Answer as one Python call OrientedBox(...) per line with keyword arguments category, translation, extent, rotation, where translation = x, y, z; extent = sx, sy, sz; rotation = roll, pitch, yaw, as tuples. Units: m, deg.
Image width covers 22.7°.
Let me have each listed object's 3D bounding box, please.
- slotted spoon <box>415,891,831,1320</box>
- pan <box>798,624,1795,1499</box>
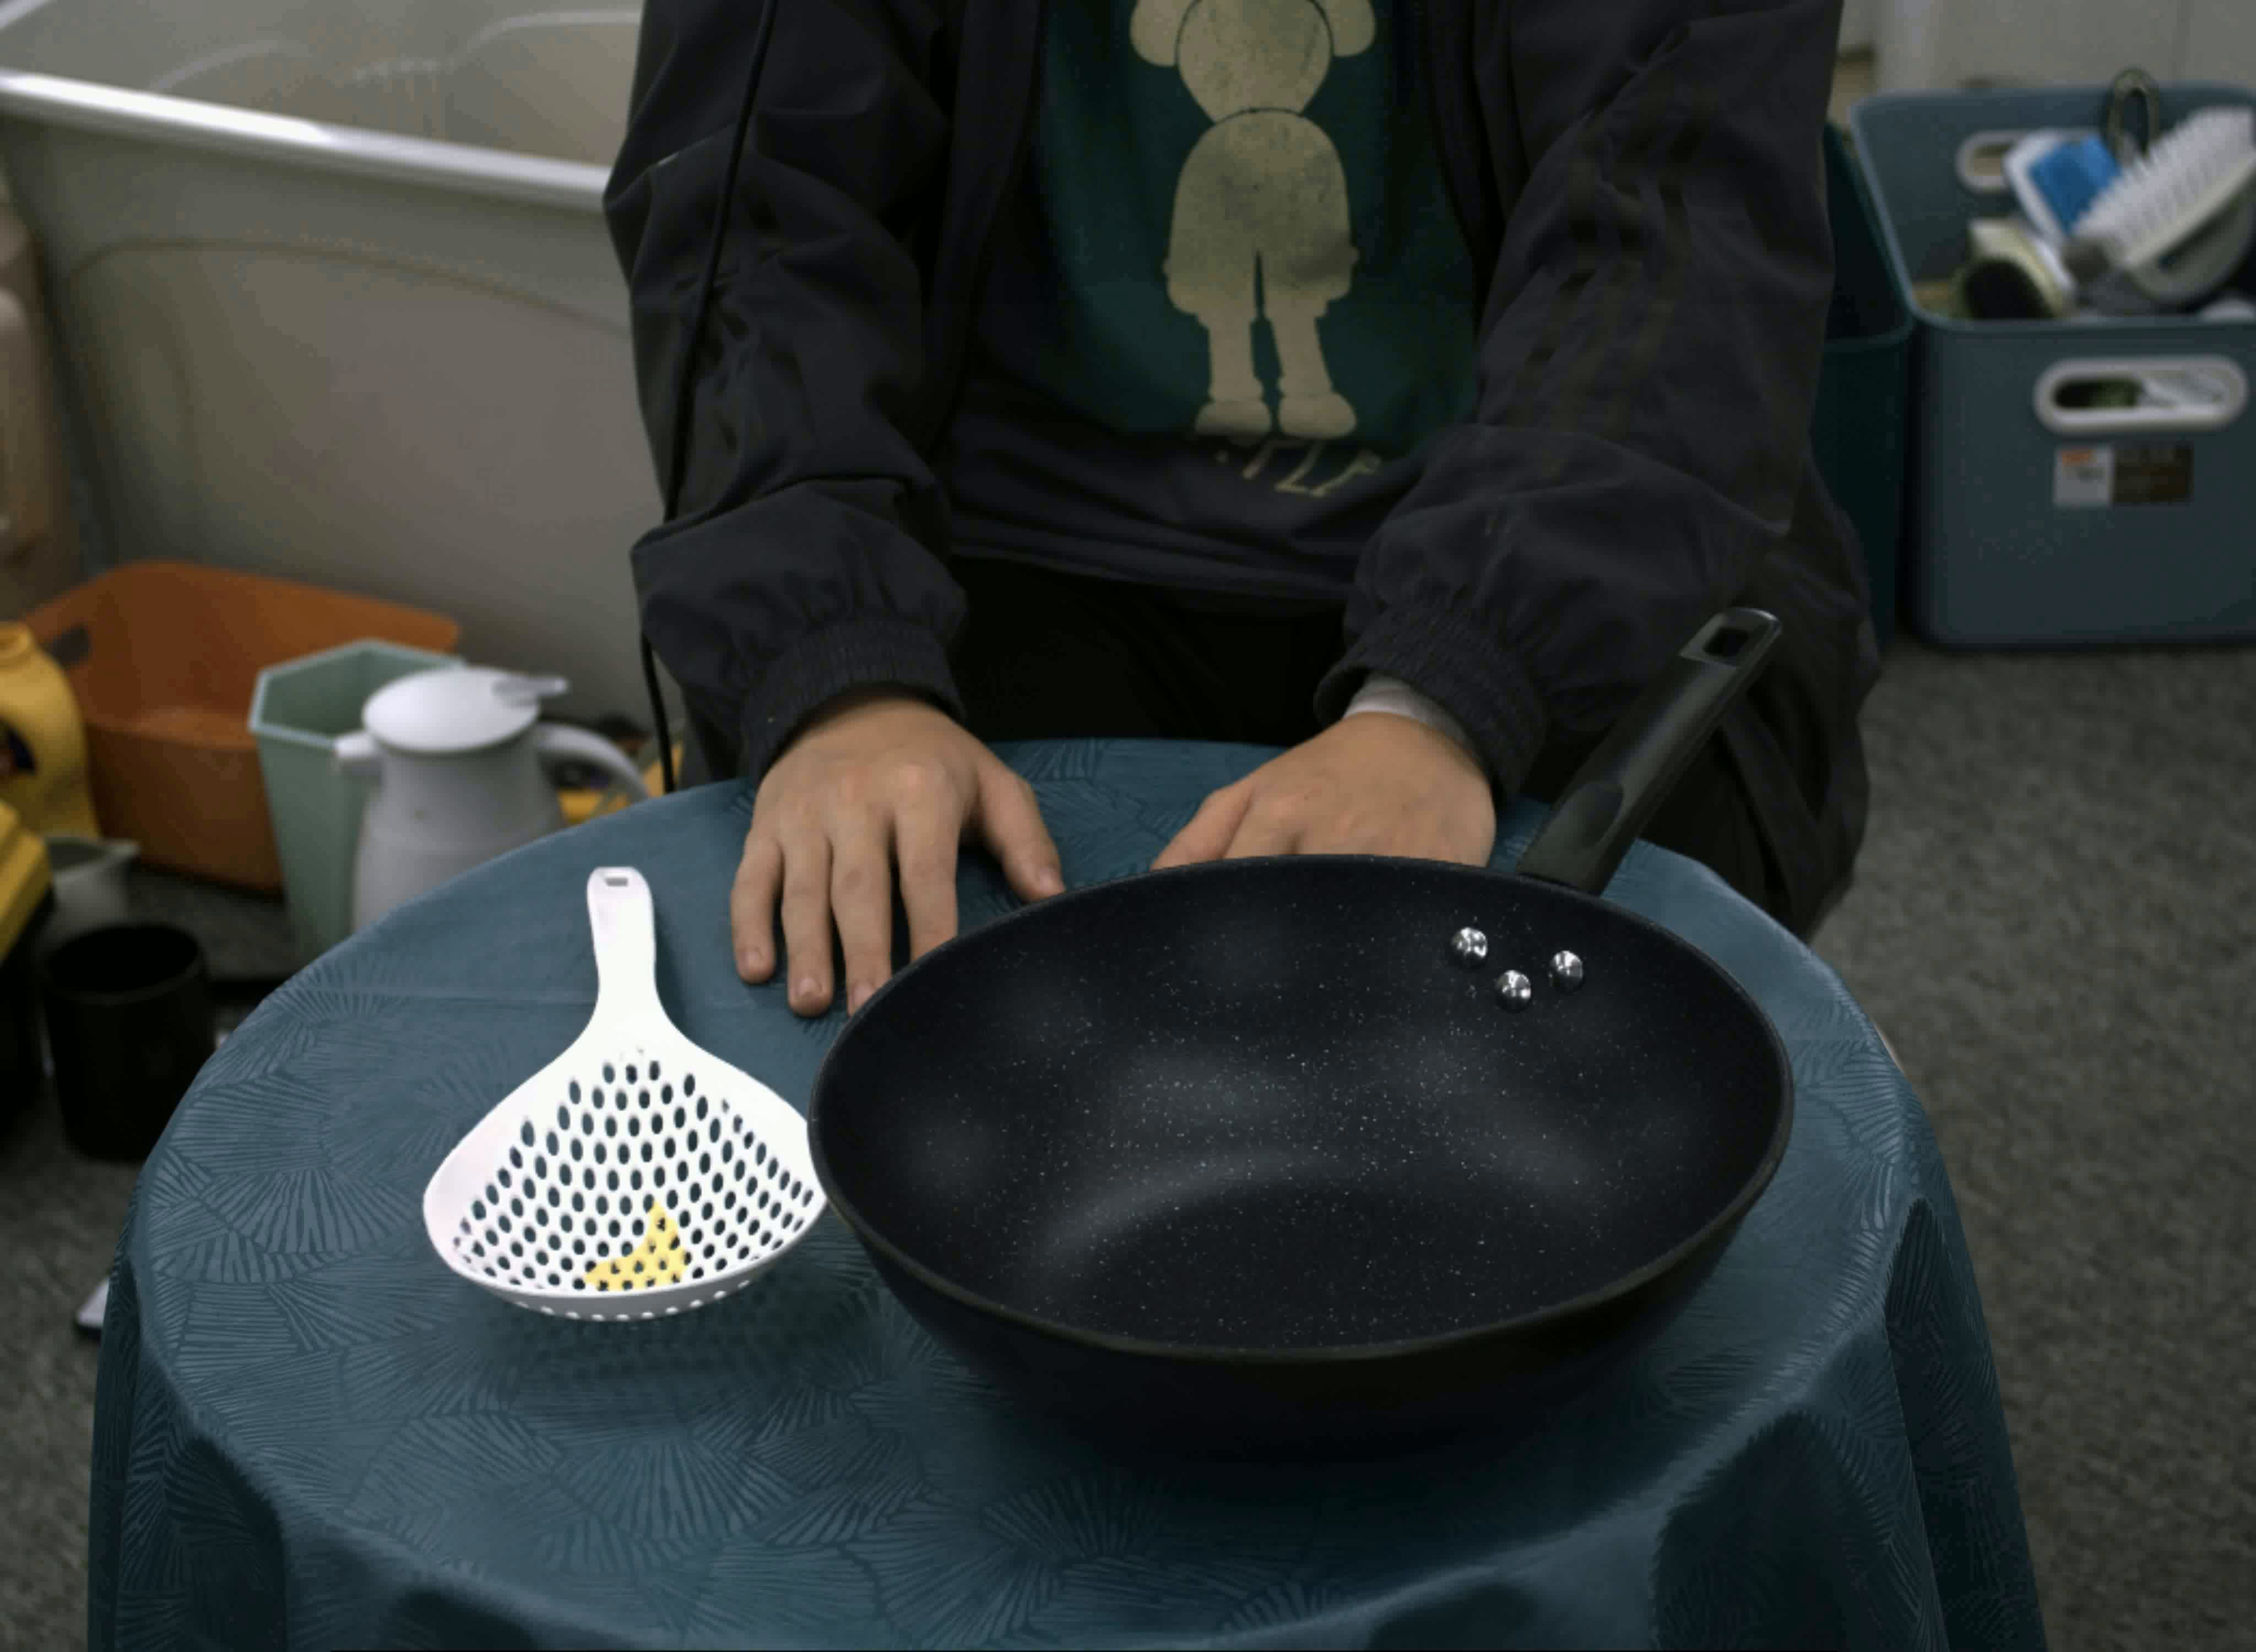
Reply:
OrientedBox(category="slotted spoon", translation=(-0.170, 0.083, 1.907), extent=(0.136, 0.050, 0.352), rotation=(-7, 27, -3))
OrientedBox(category="pan", translation=(0.097, 0.078, 1.821), extent=(0.308, 0.110, 0.484), rotation=(15, 32, 28))
